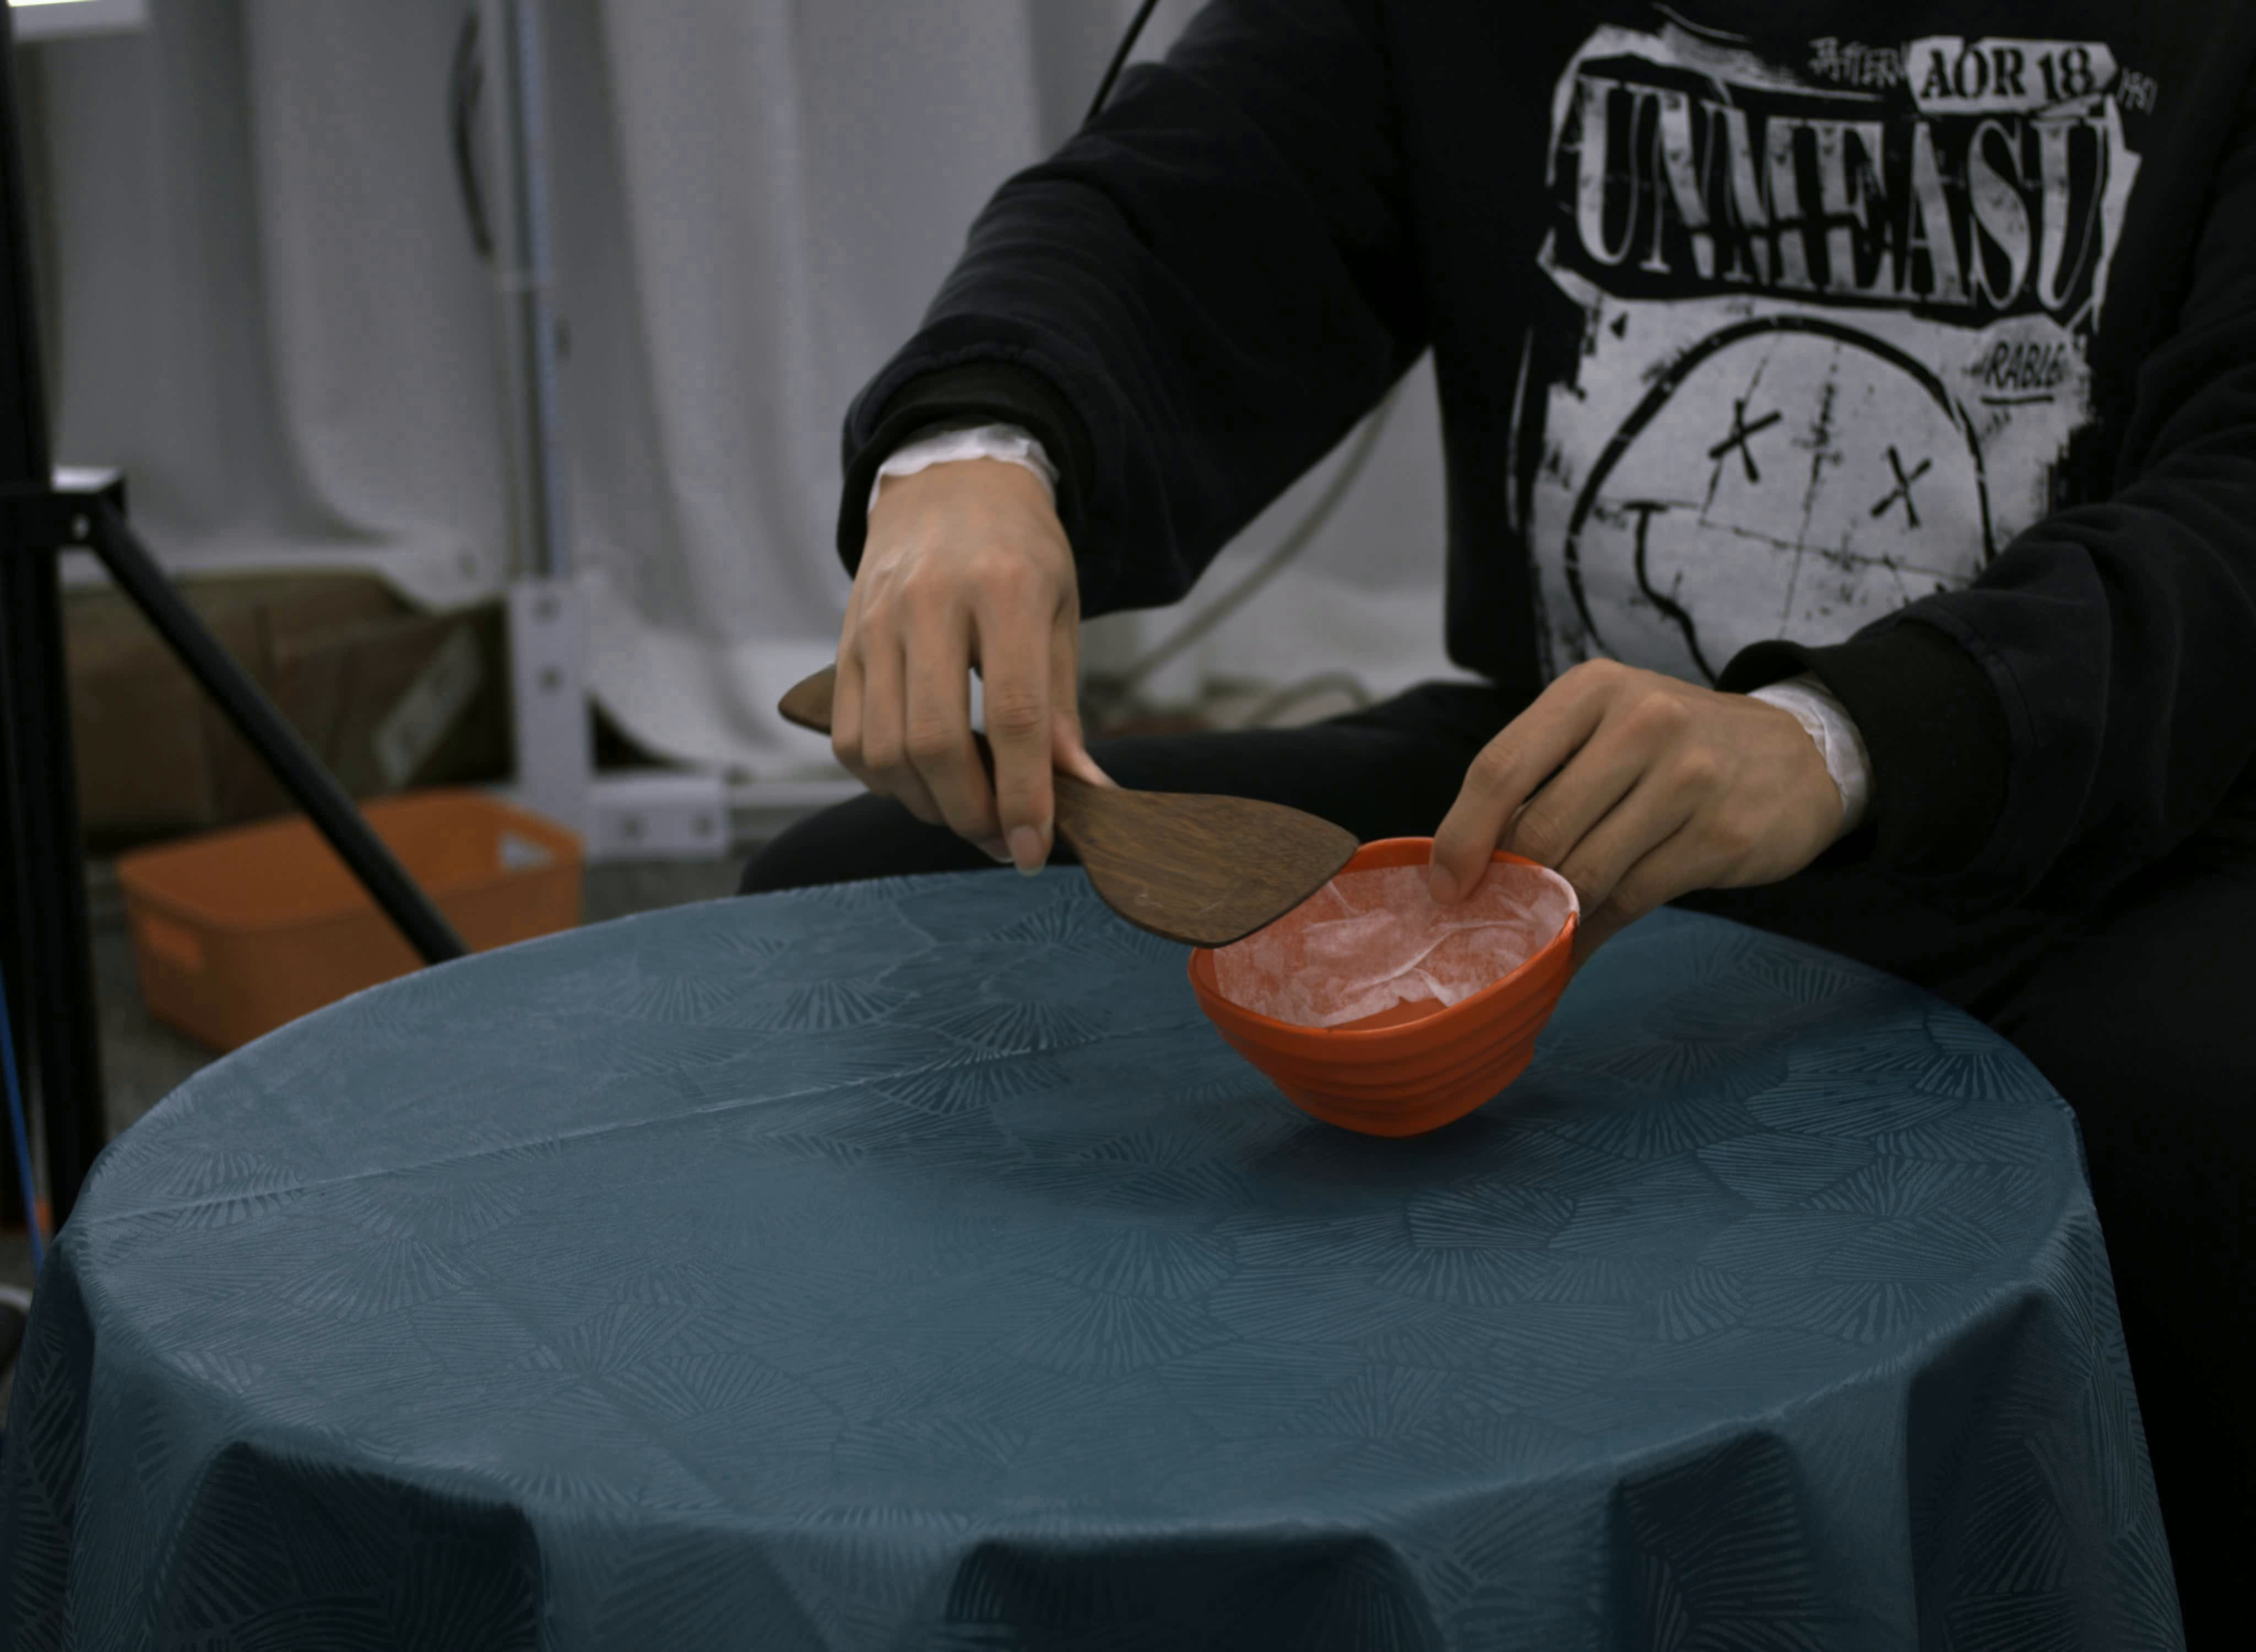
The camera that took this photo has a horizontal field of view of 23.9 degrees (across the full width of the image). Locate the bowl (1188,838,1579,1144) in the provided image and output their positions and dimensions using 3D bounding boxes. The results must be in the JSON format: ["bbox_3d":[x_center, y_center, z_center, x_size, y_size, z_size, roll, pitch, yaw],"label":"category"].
[{"bbox_3d":[0.081,0.054,1.592,0.119,0.051,0.120,-12,28,5],"label":"bowl"}]

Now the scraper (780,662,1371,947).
[{"bbox_3d":[-0.024,-0.011,1.617,0.216,0.011,0.074,24,42,36],"label":"scraper"}]
